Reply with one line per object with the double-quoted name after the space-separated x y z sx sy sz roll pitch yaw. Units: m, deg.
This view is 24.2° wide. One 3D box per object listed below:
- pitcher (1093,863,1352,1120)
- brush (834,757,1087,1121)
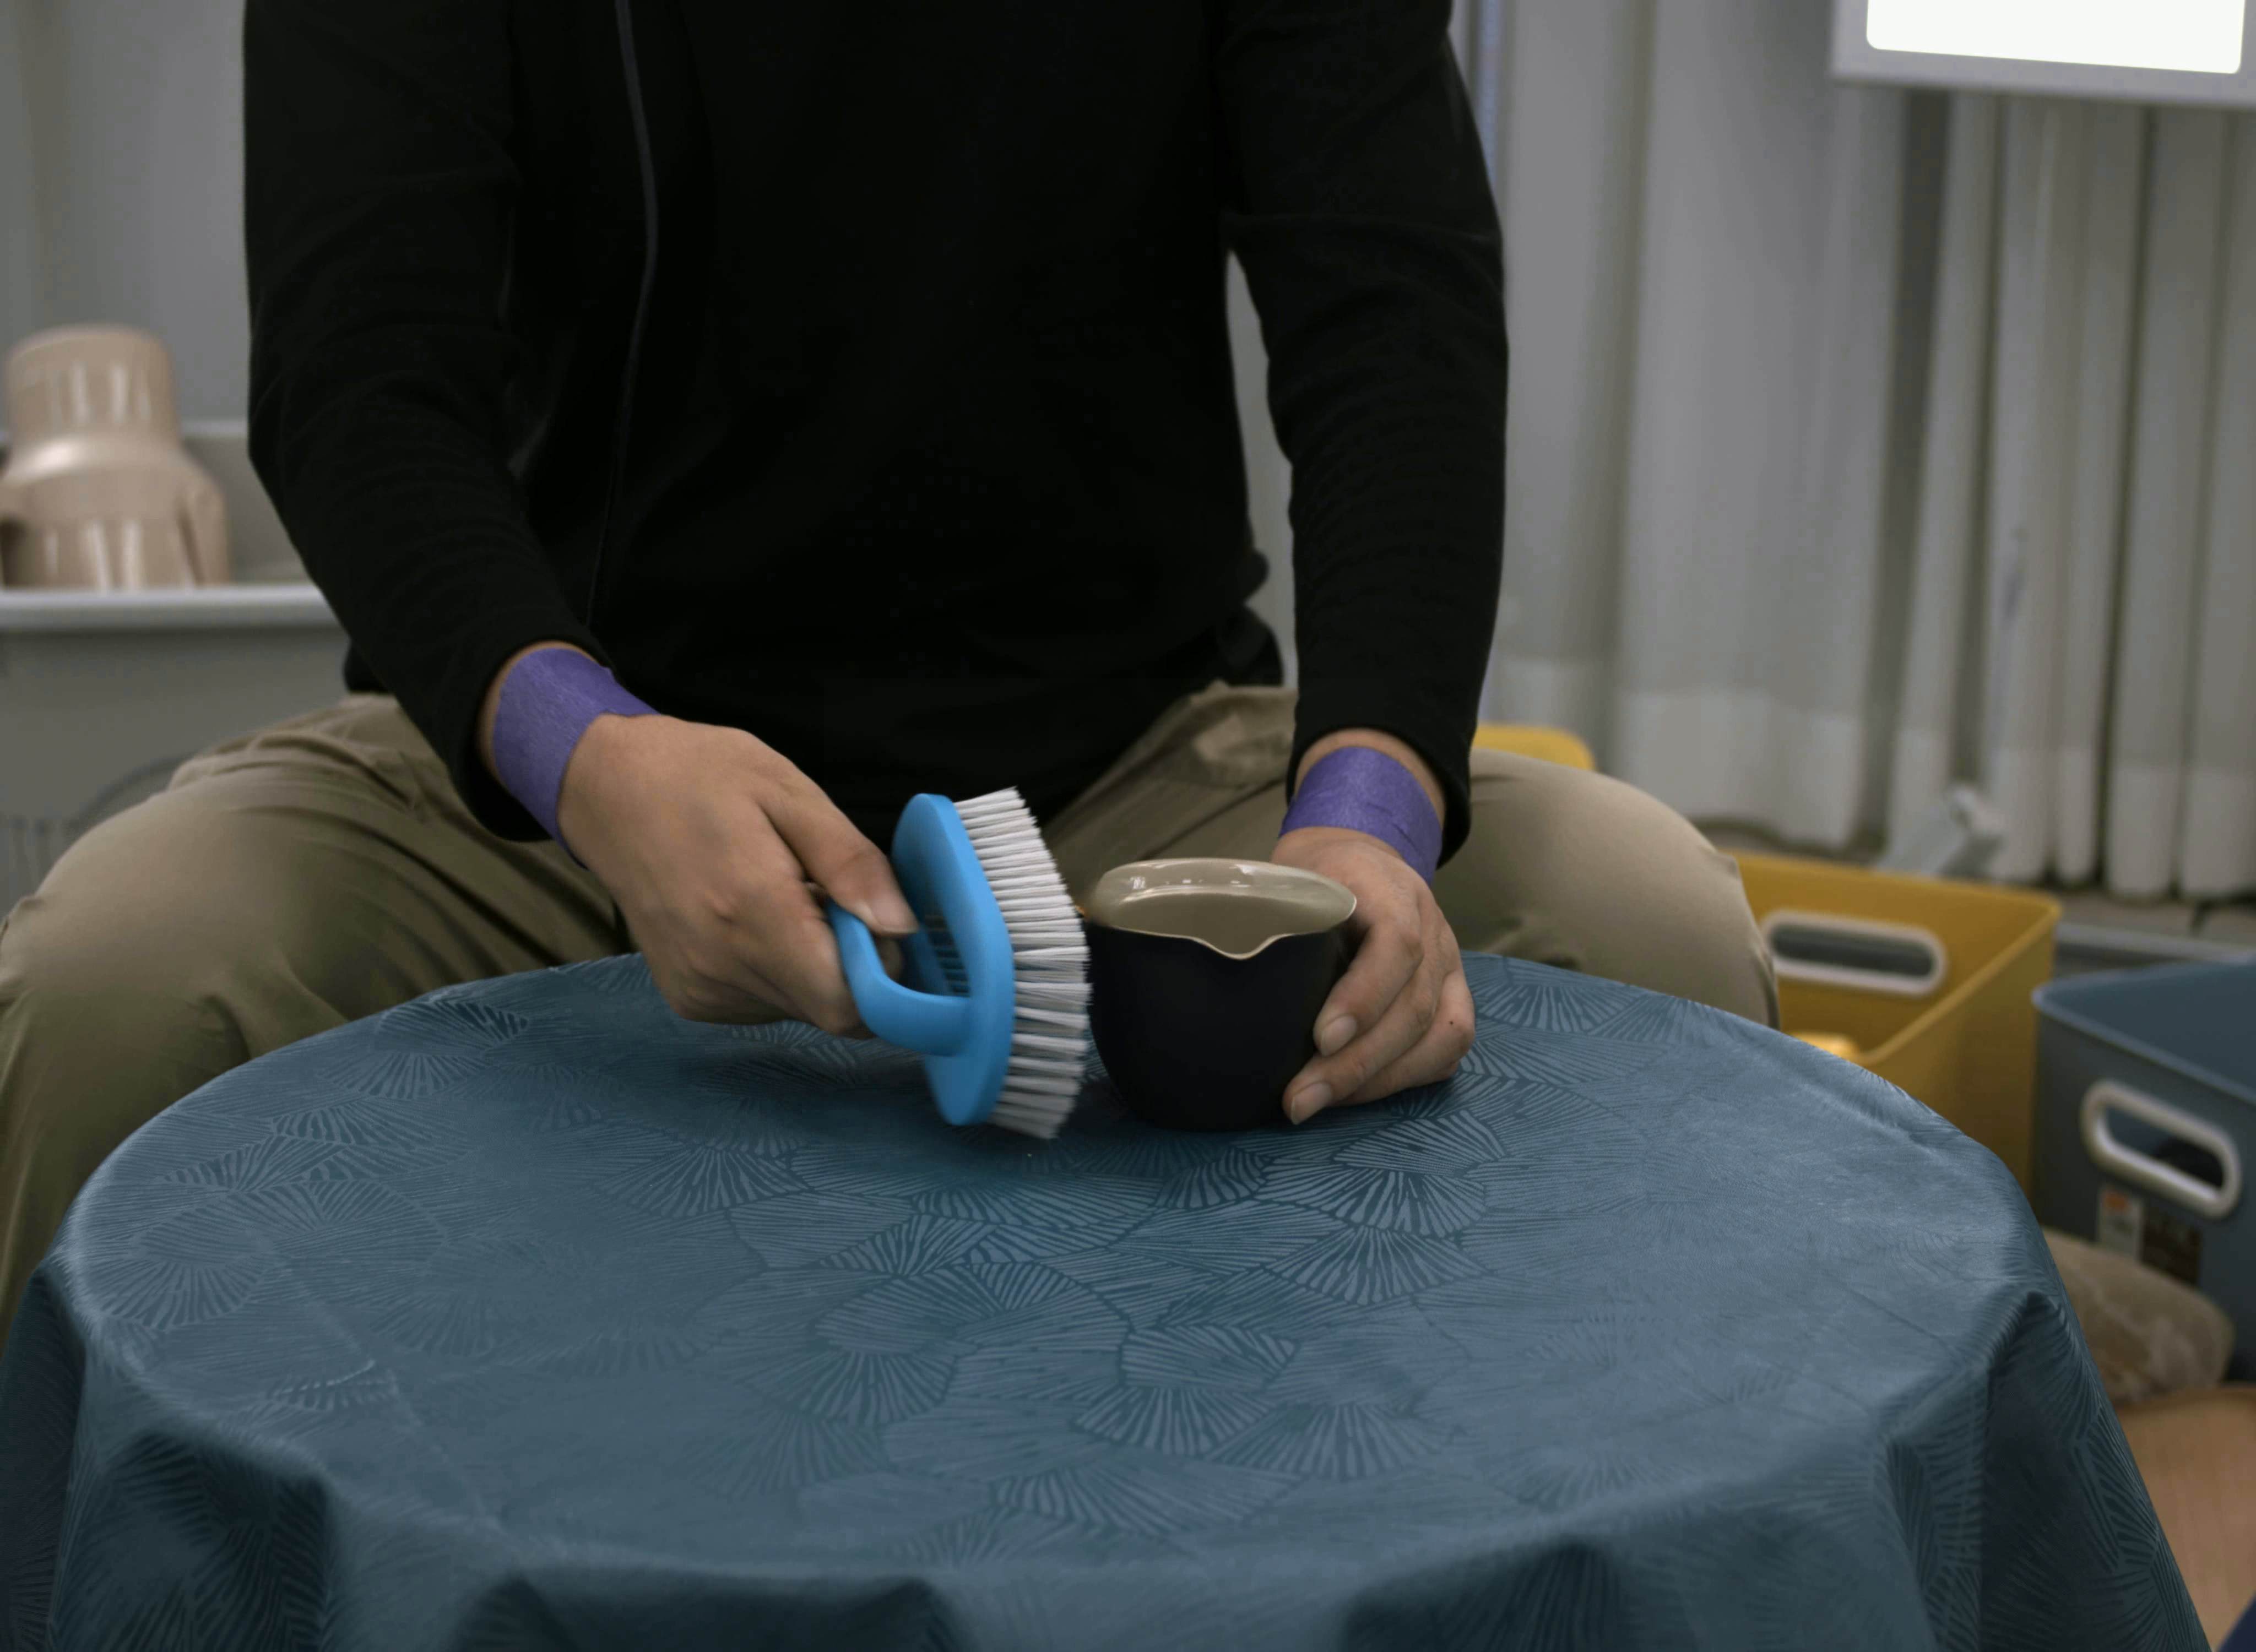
0.029 0.054 1.688 0.083 0.072 0.095 2 18 -4 "pitcher"
-0.058 0.038 1.684 0.064 0.085 0.140 -2 35 -15 "brush"
